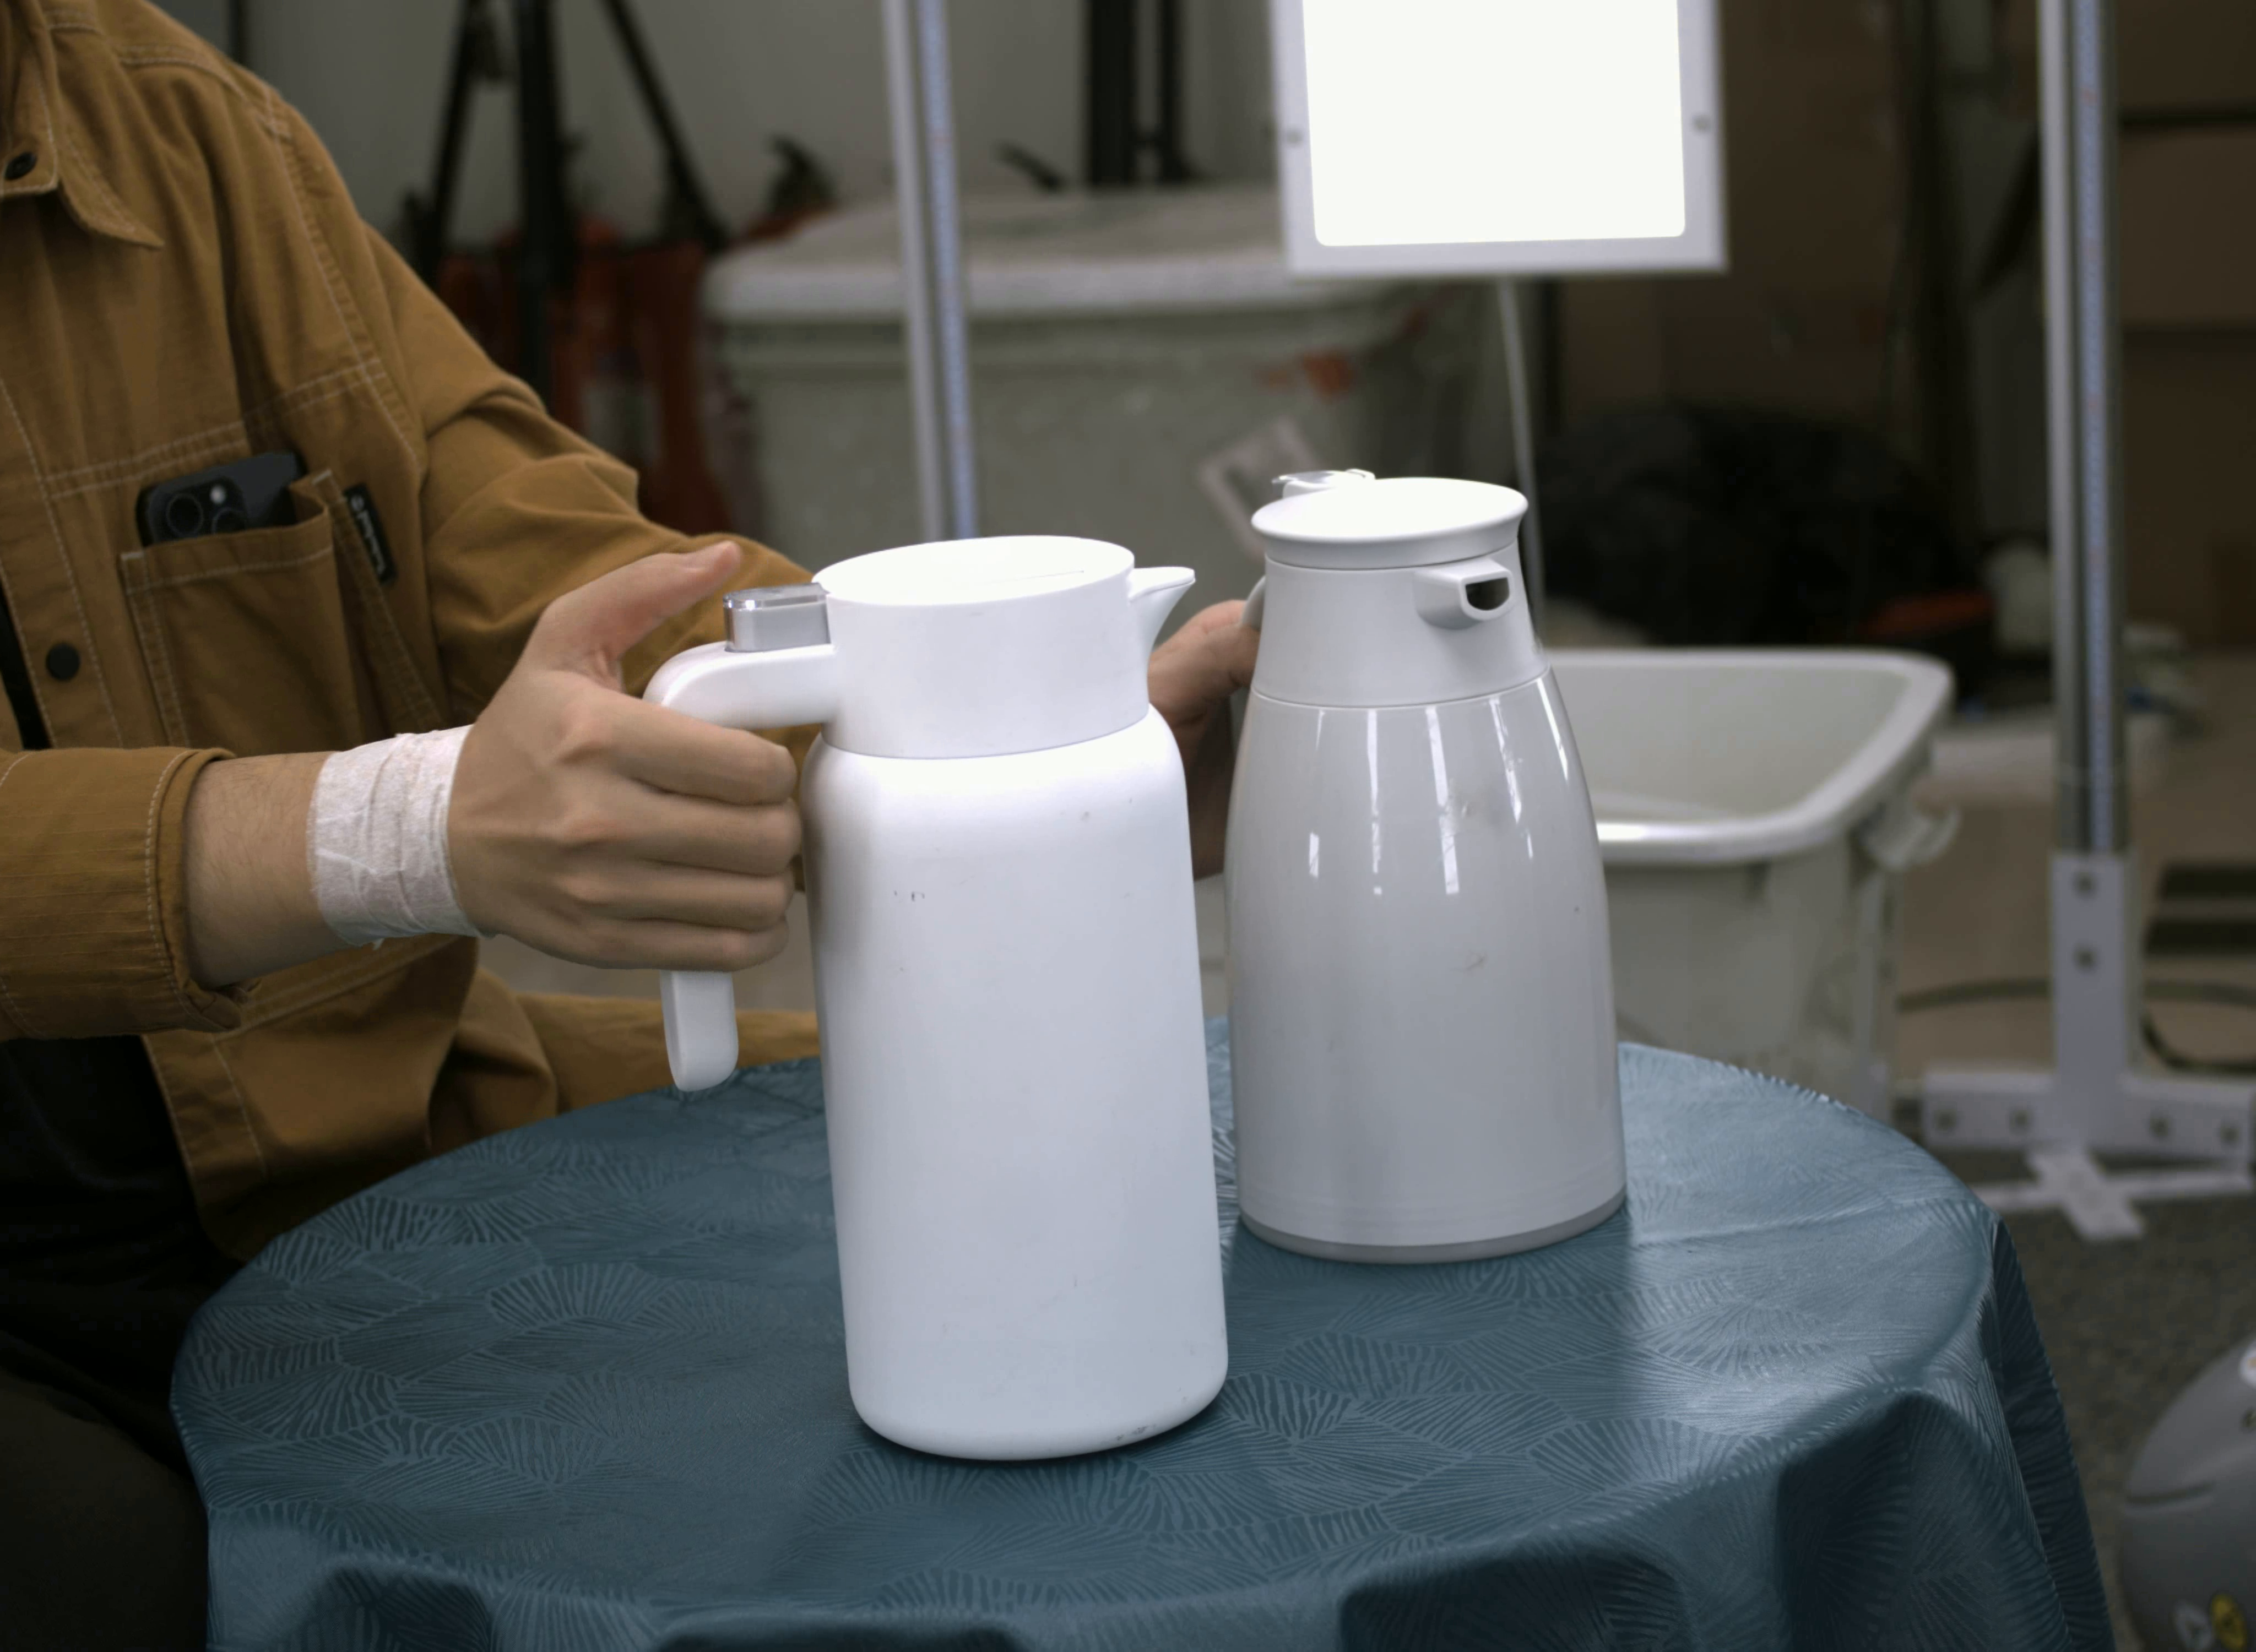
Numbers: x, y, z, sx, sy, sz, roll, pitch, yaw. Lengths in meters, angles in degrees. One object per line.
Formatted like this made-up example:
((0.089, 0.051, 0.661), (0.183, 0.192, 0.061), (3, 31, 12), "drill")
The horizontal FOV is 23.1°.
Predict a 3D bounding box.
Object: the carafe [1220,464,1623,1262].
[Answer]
((0.083, 0.004, 1.844), (0.130, 0.249, 0.170), (-11, 14, -26), "carafe")

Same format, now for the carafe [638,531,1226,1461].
((-0.053, 0.052, 1.660), (0.171, 0.270, 0.125), (-8, 16, -12), "carafe")
